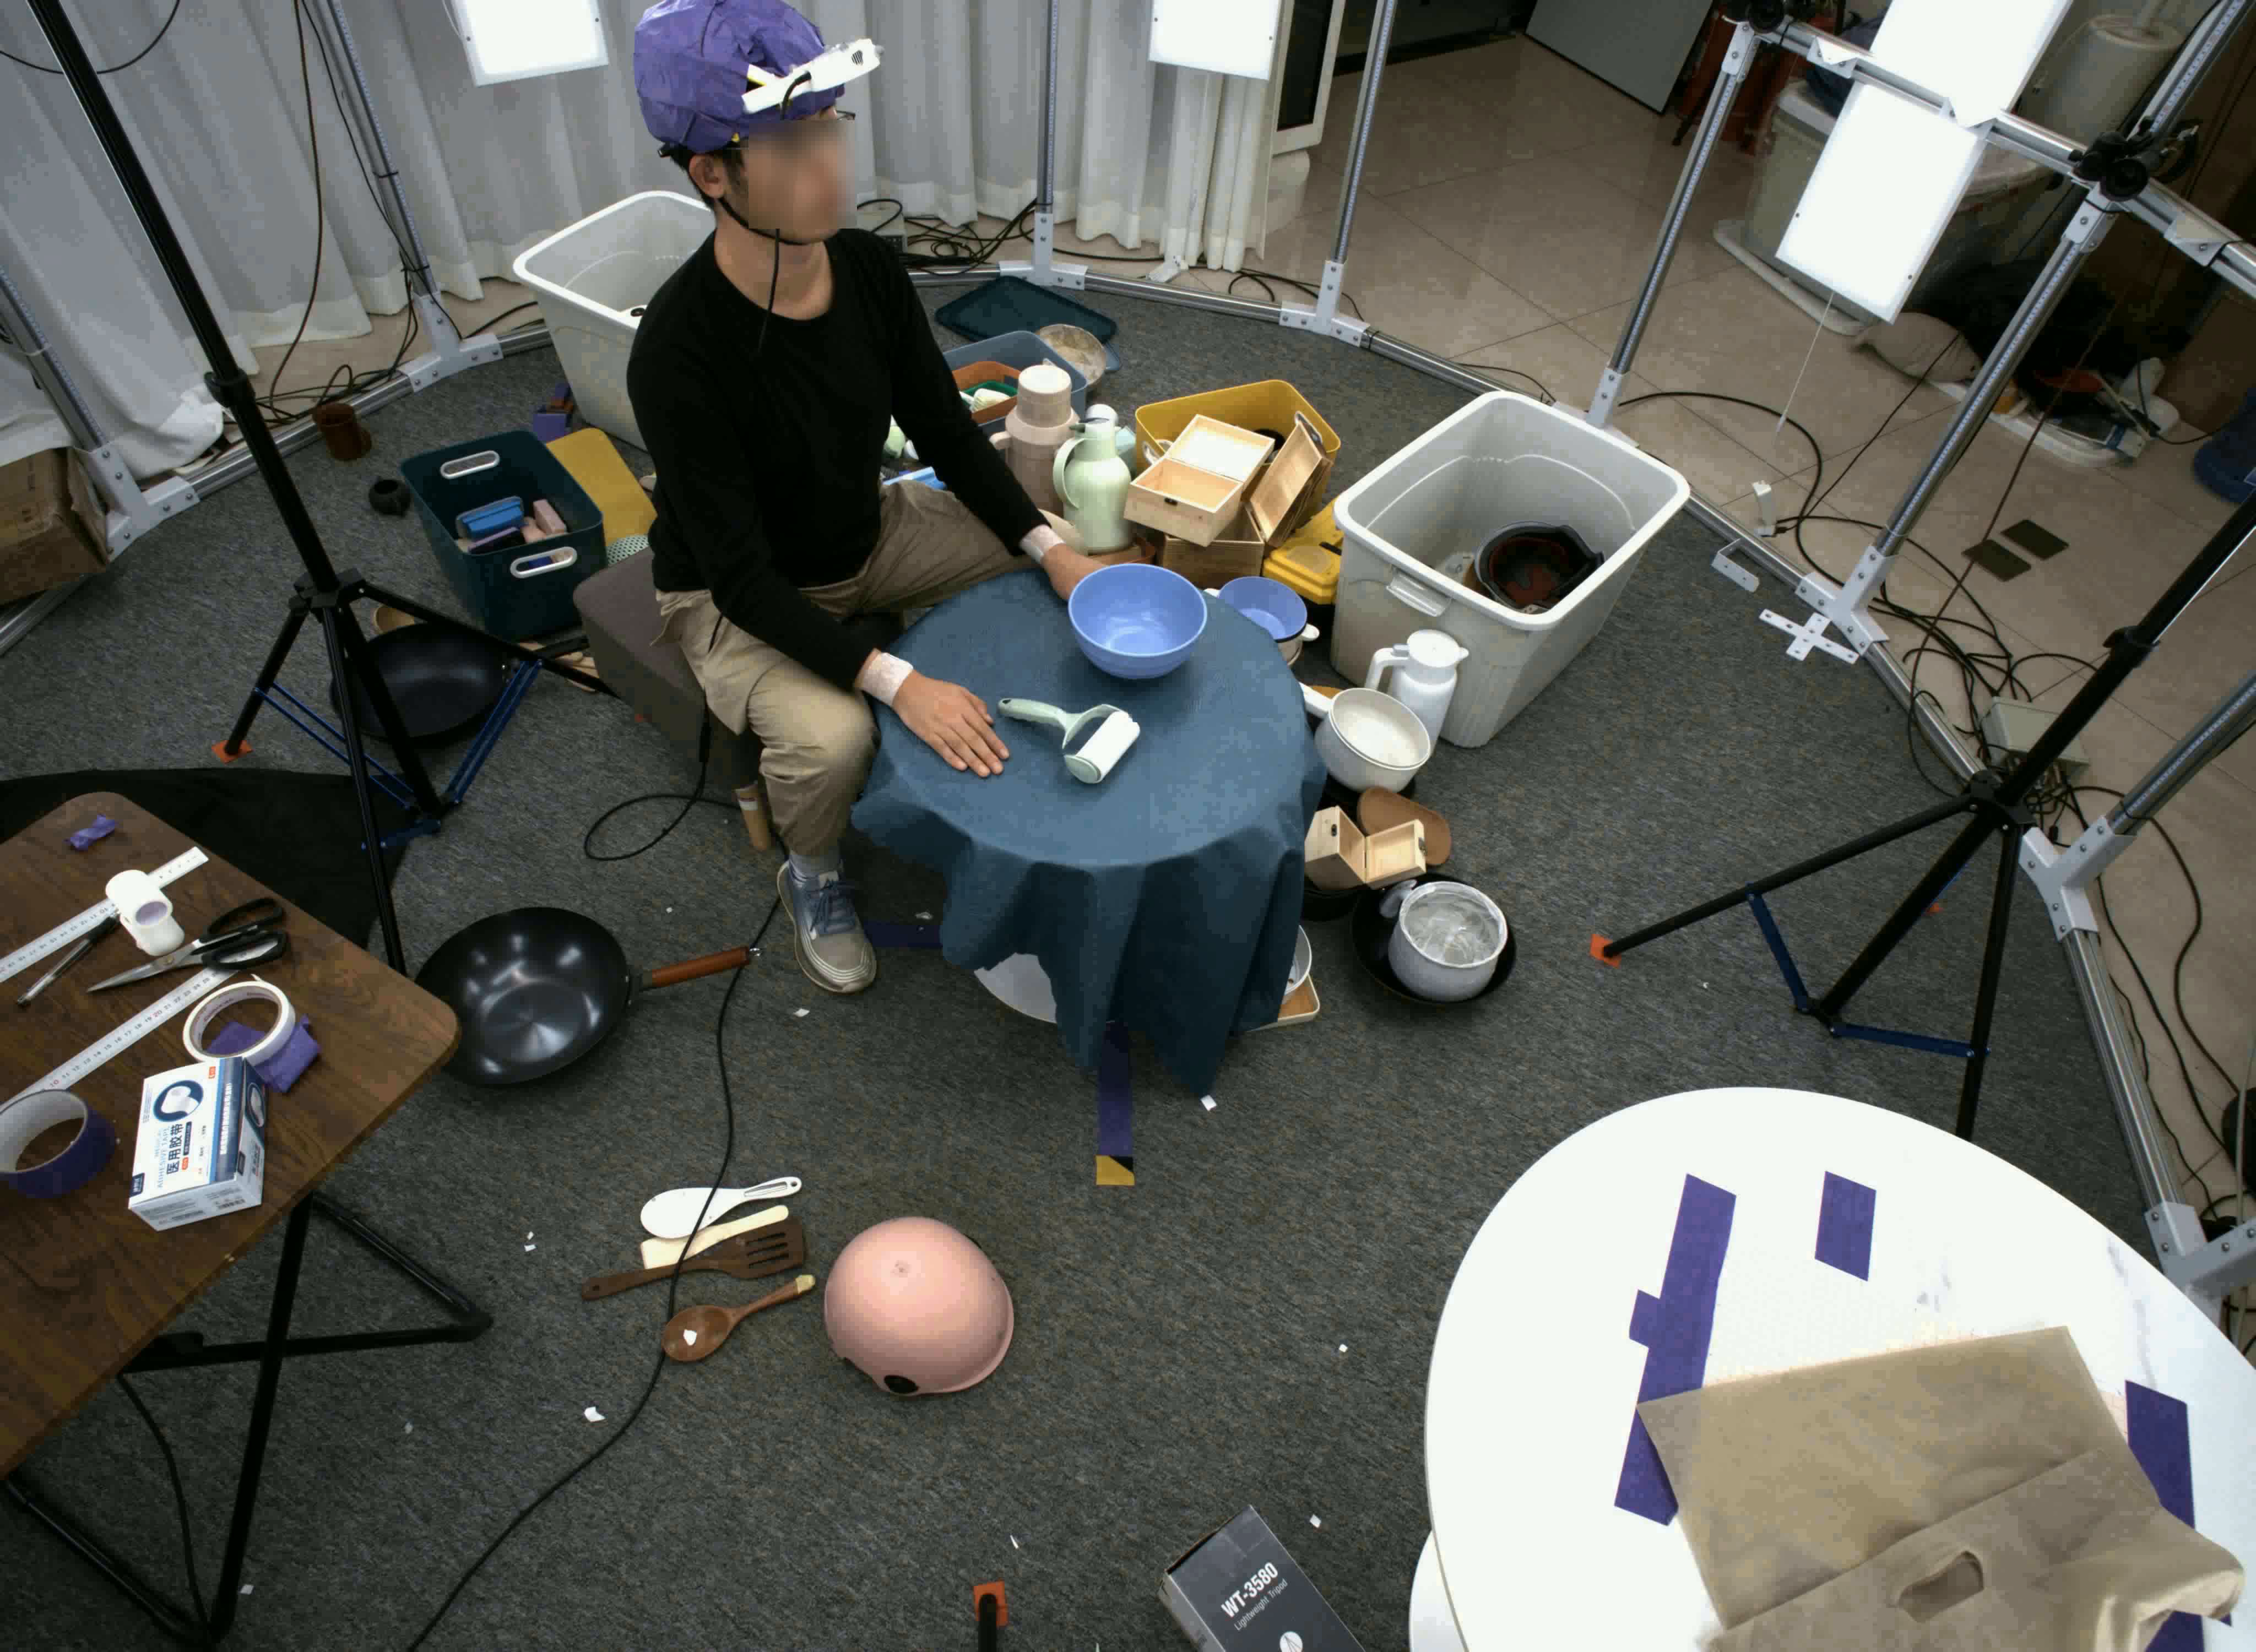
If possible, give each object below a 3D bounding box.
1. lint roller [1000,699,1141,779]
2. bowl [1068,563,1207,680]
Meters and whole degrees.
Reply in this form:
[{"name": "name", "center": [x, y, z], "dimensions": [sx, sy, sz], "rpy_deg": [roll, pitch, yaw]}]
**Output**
[{"name": "lint roller", "center": [-0.089, -0.142, 1.759], "dimensions": [0.199, 0.047, 0.118], "rpy_deg": [25, 54, 18]}, {"name": "bowl", "center": [0.012, -0.279, 1.851], "dimensions": [0.196, 0.093, 0.201], "rpy_deg": [1, 50, -2]}]
